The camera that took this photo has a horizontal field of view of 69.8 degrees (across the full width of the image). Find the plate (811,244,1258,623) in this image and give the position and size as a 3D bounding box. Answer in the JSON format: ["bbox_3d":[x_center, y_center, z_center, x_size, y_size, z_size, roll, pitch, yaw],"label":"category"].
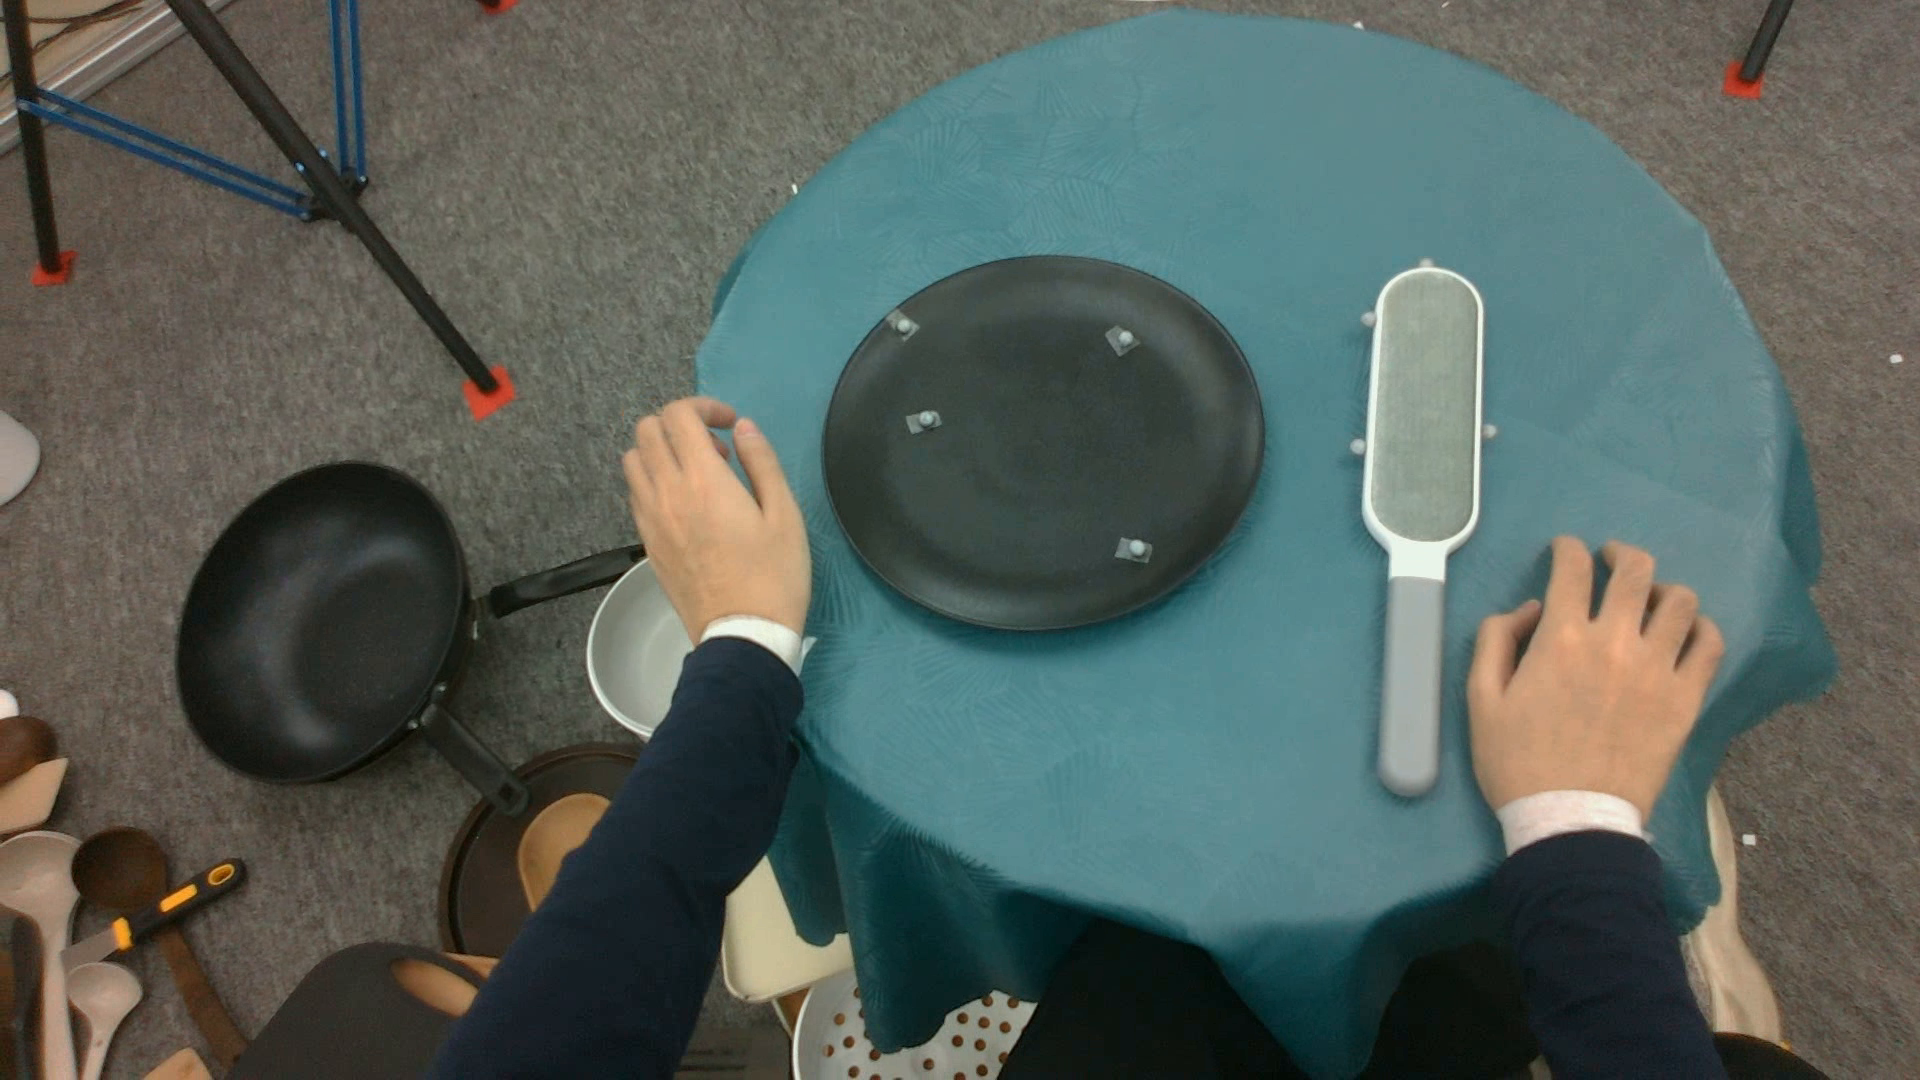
[{"bbox_3d":[0.040,-0.063,0.758,0.244,0.023,0.245,-3,61,5],"label":"plate"}]

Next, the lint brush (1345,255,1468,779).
[{"bbox_3d":[0.229,-0.024,0.713,0.060,0.021,0.310,9,63,6],"label":"lint brush"}]
